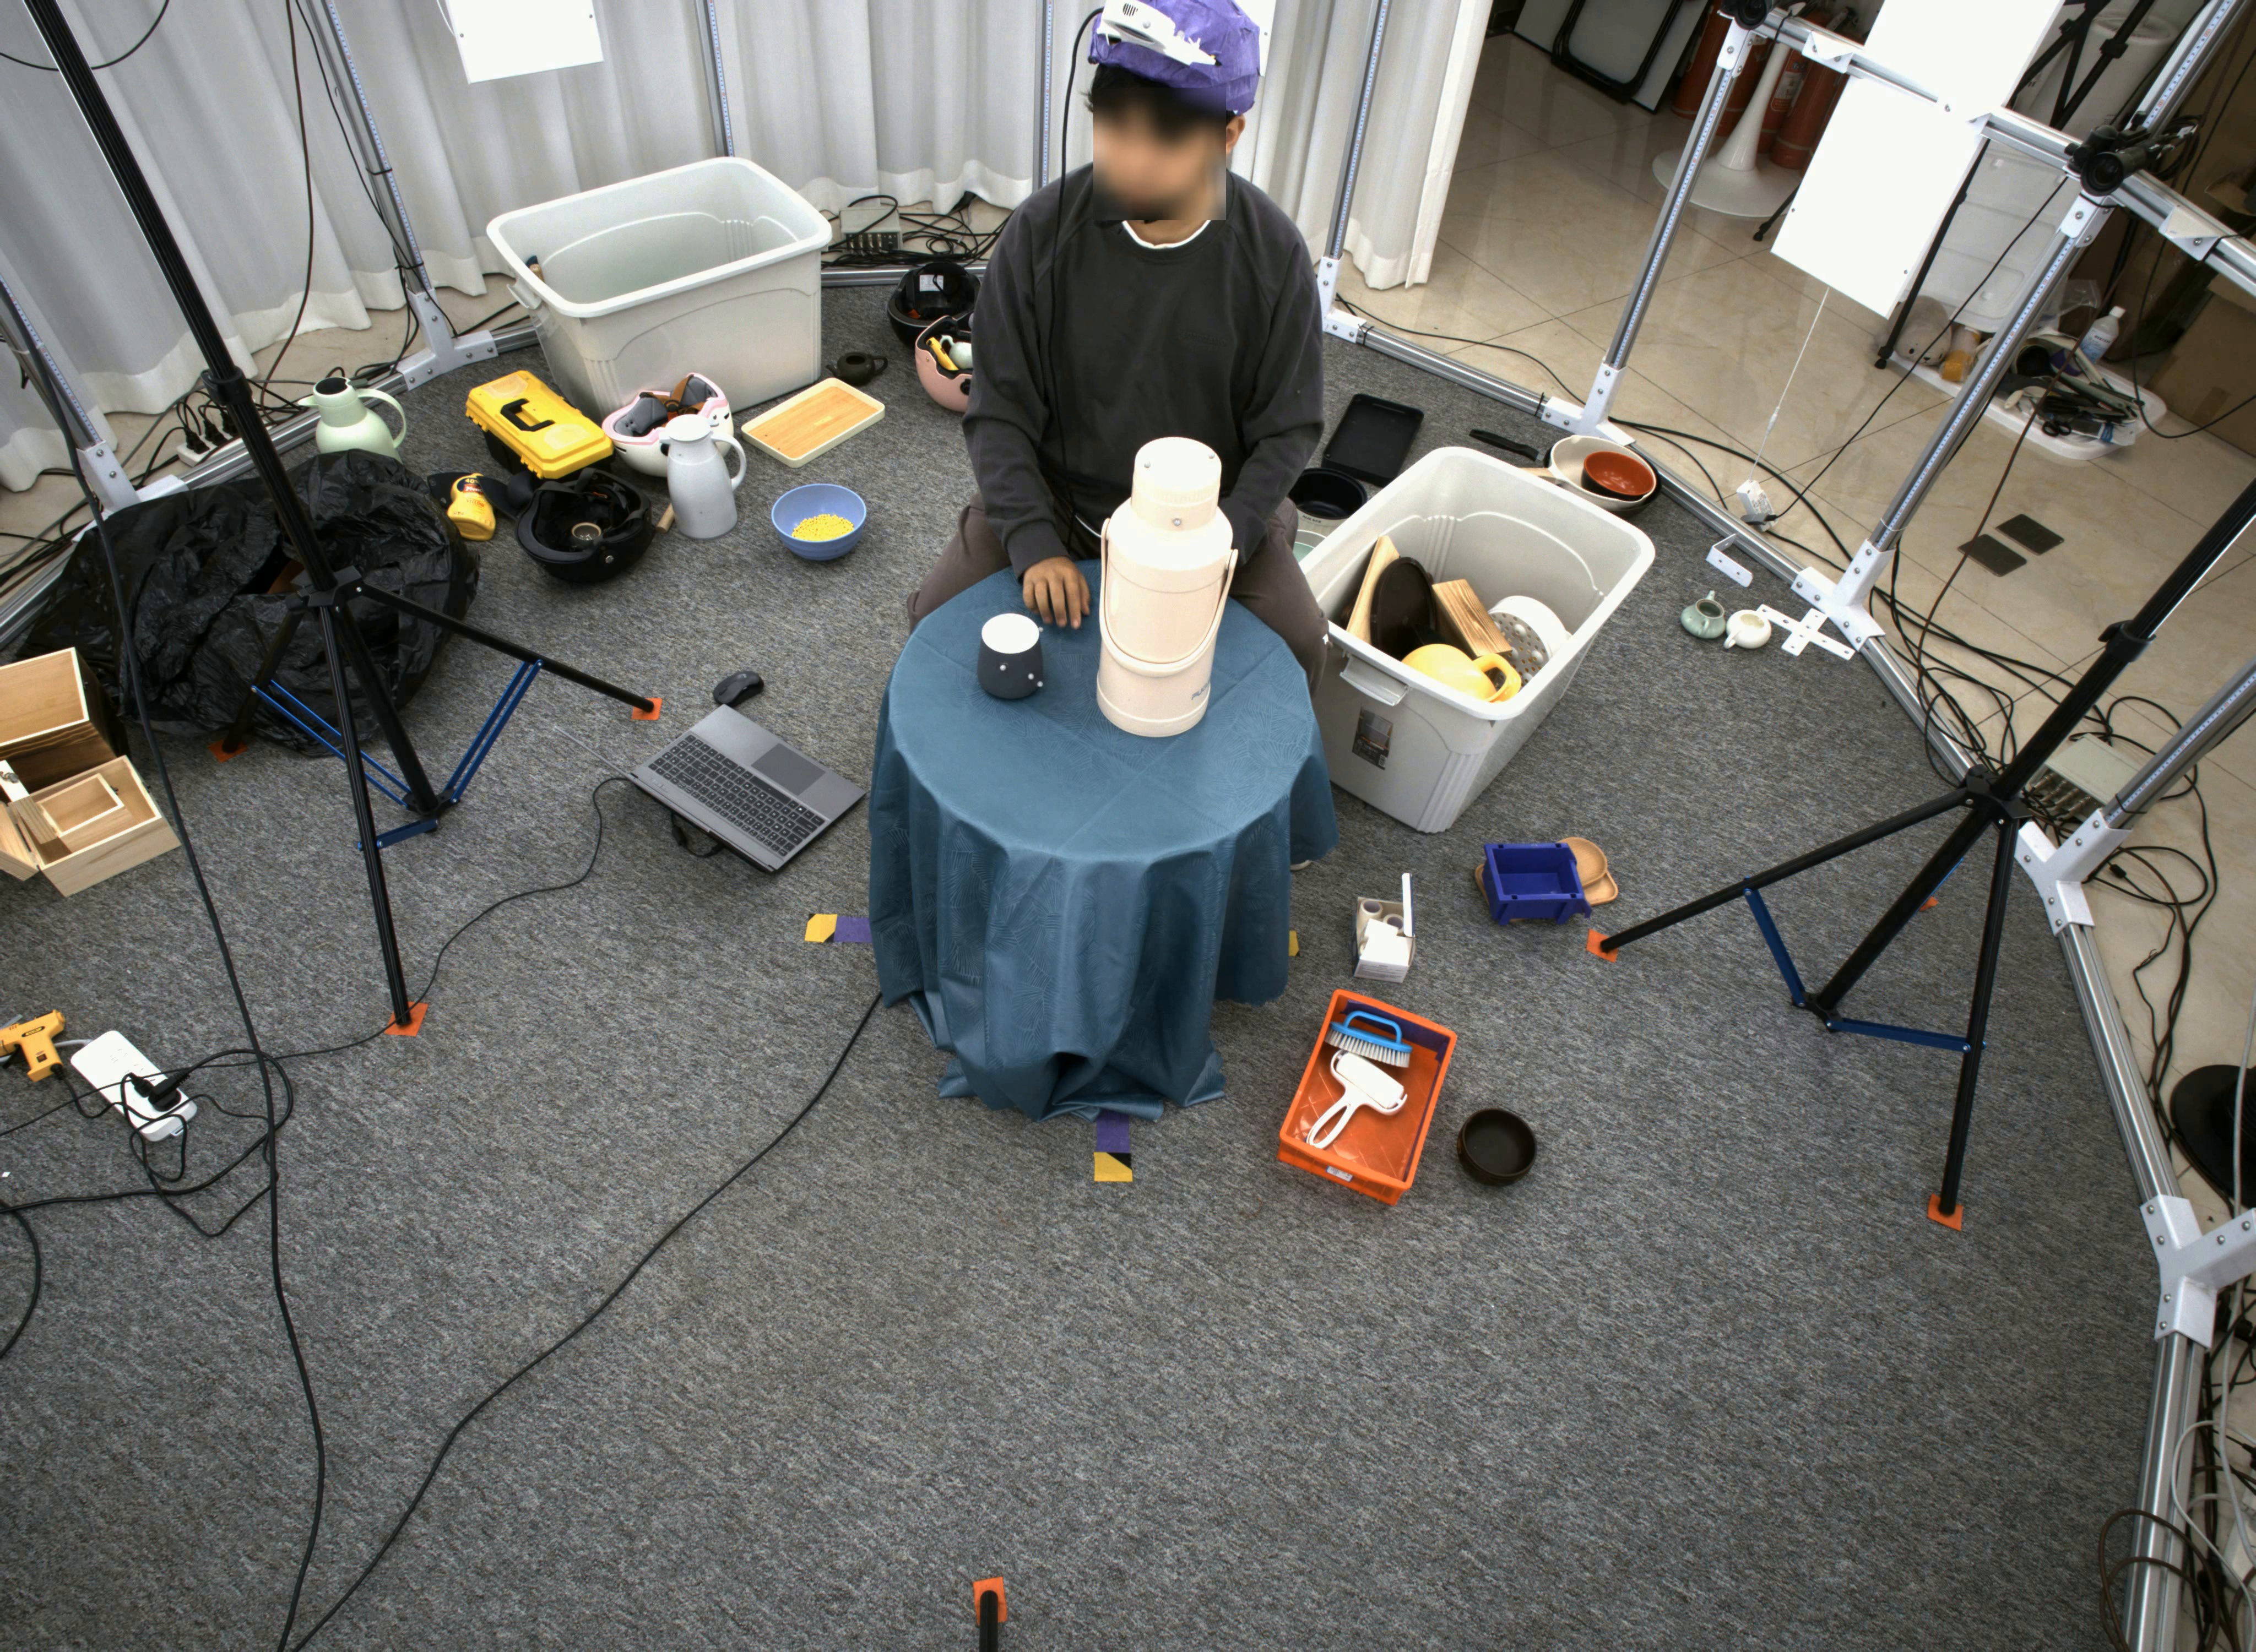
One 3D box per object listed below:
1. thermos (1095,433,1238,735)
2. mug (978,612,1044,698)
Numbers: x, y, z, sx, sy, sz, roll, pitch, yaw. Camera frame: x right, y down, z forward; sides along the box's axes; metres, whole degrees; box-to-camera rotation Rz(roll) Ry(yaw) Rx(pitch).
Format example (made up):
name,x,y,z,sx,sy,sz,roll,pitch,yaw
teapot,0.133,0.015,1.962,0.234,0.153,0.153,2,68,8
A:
name,x,y,z,sx,sy,sz,roll,pitch,yaw
thermos,0.051,-0.321,1.692,0.176,0.396,0.211,15,50,8
mug,-0.161,-0.249,1.810,0.093,0.088,0.126,10,49,3
